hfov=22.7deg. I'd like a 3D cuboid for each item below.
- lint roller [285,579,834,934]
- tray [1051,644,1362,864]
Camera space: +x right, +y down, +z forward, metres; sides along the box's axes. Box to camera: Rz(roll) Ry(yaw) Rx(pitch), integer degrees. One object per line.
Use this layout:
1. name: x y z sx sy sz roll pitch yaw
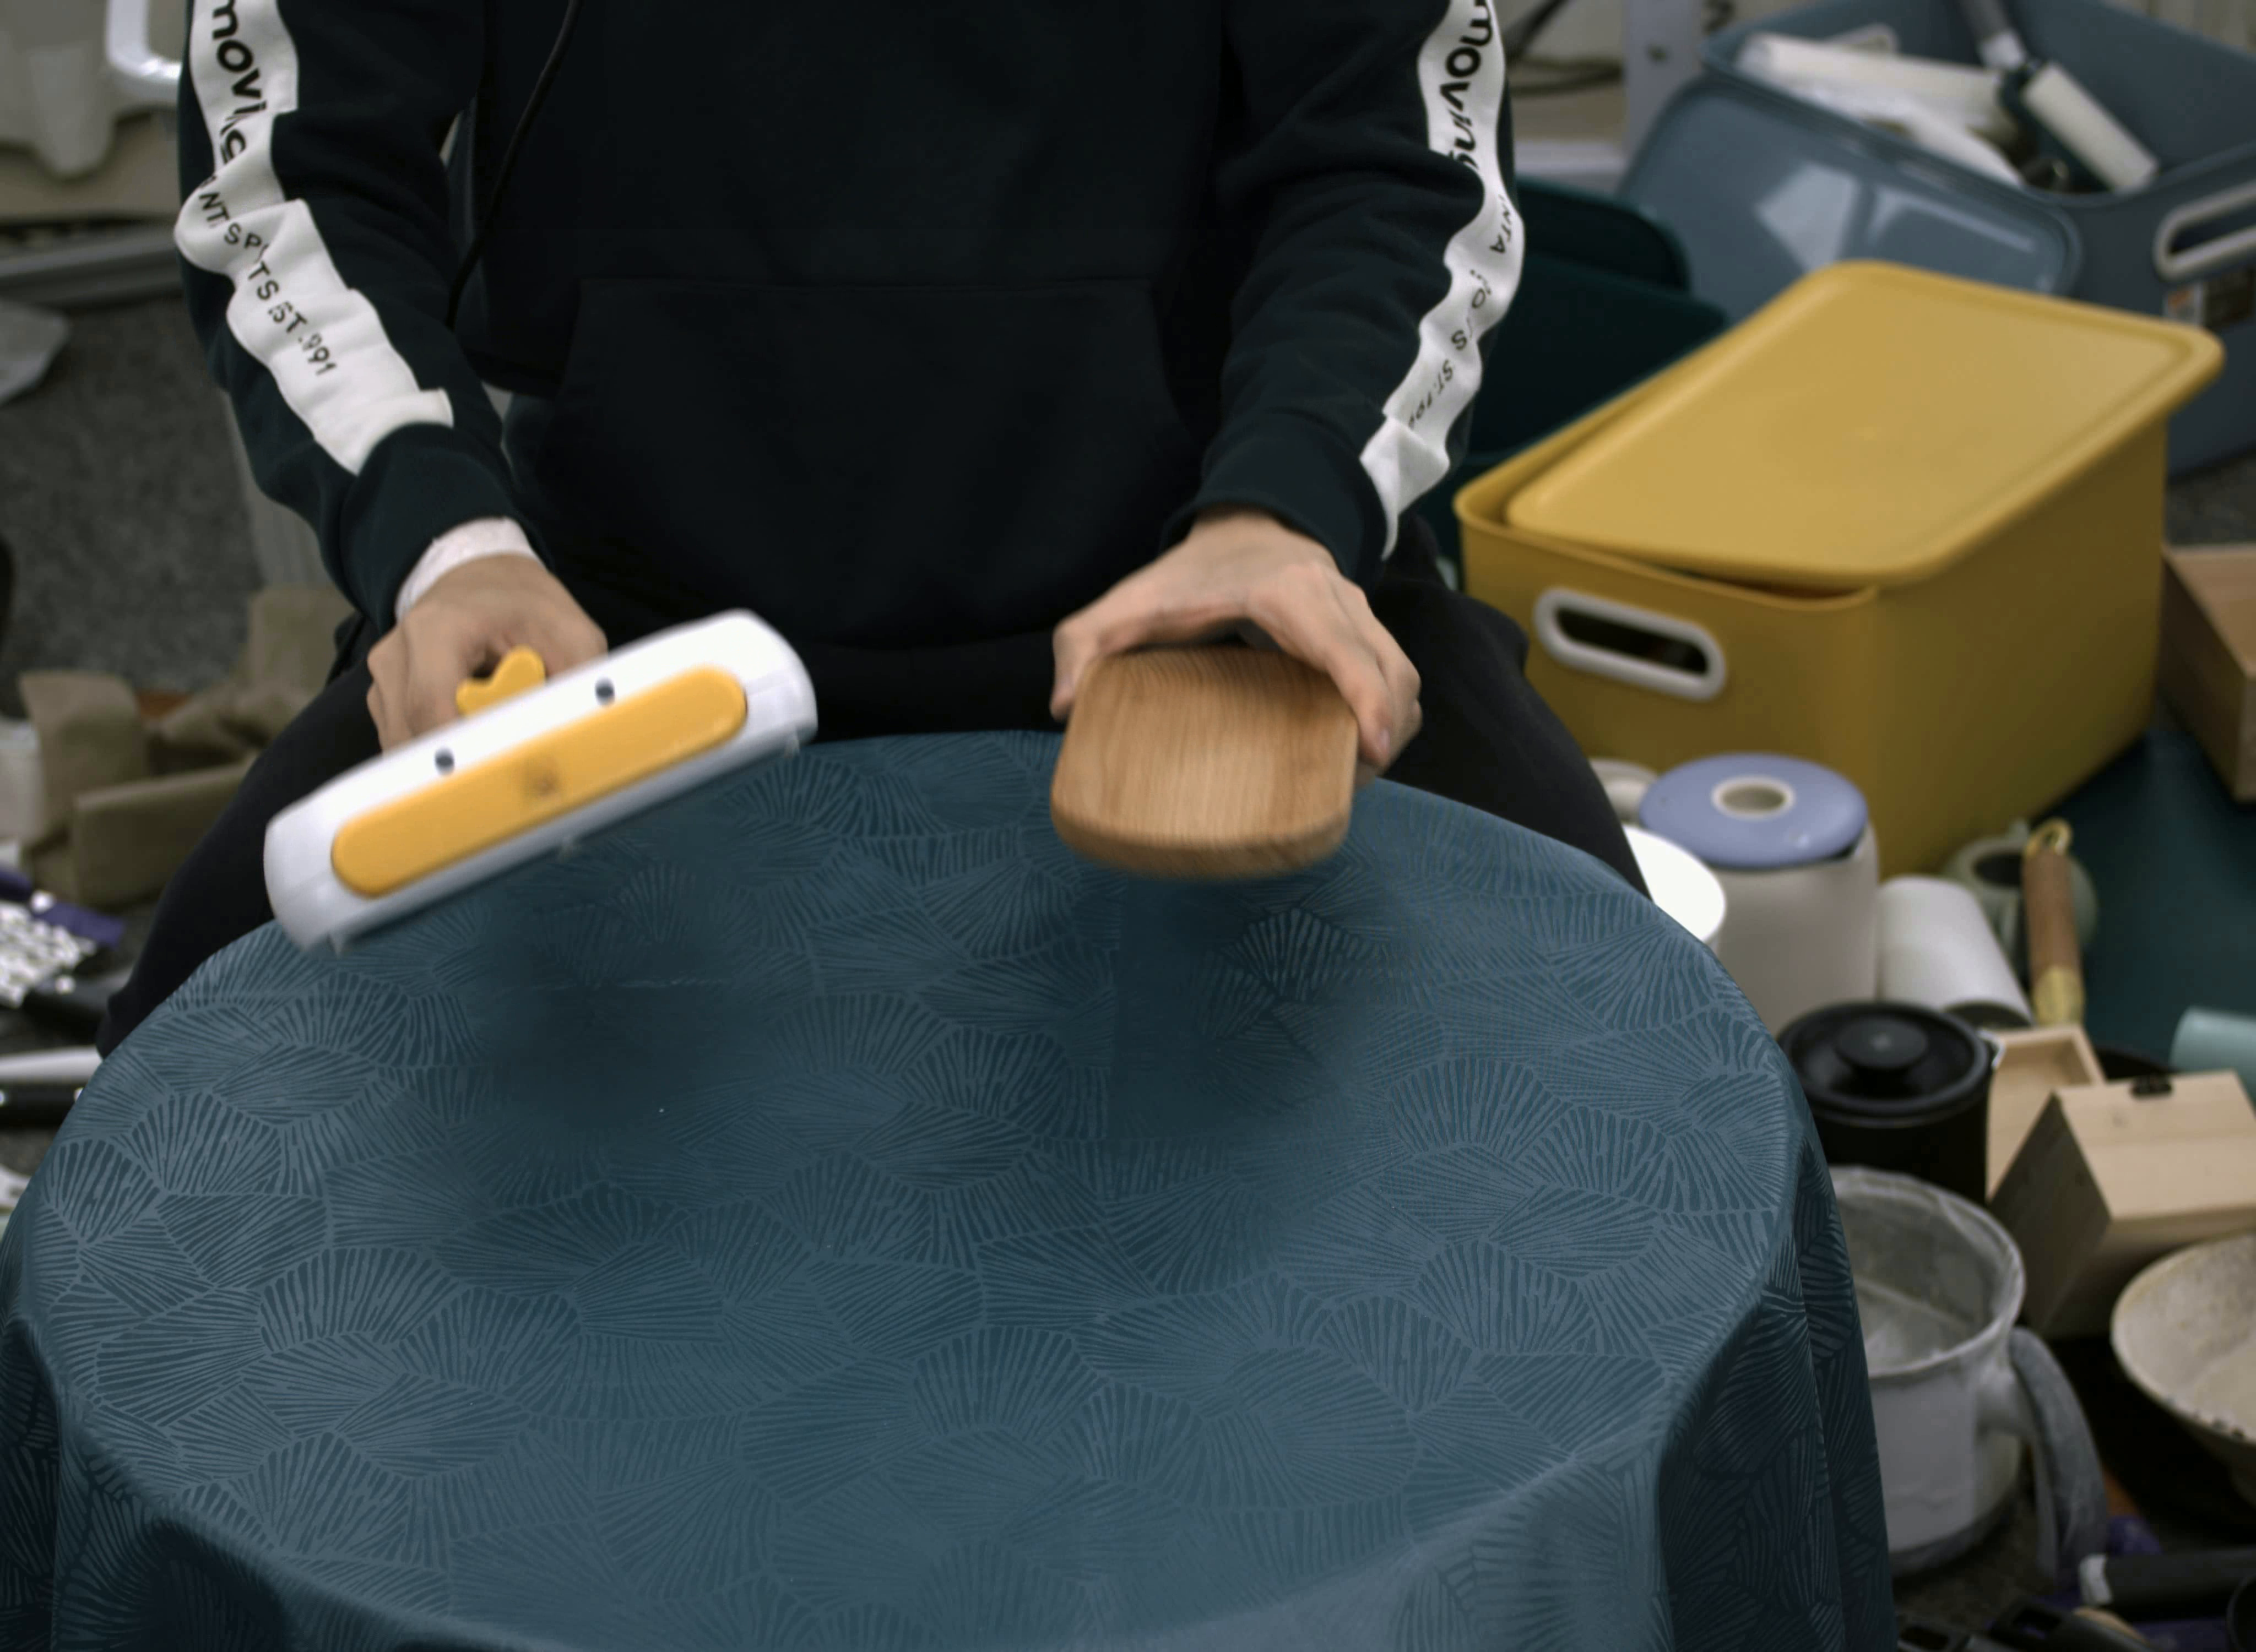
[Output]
1. lint roller: -0.204 -0.025 1.924 0.193 0.074 0.191 -29 3 -12
2. tray: 0.028 -0.026 1.922 0.101 0.020 0.233 2 18 3
